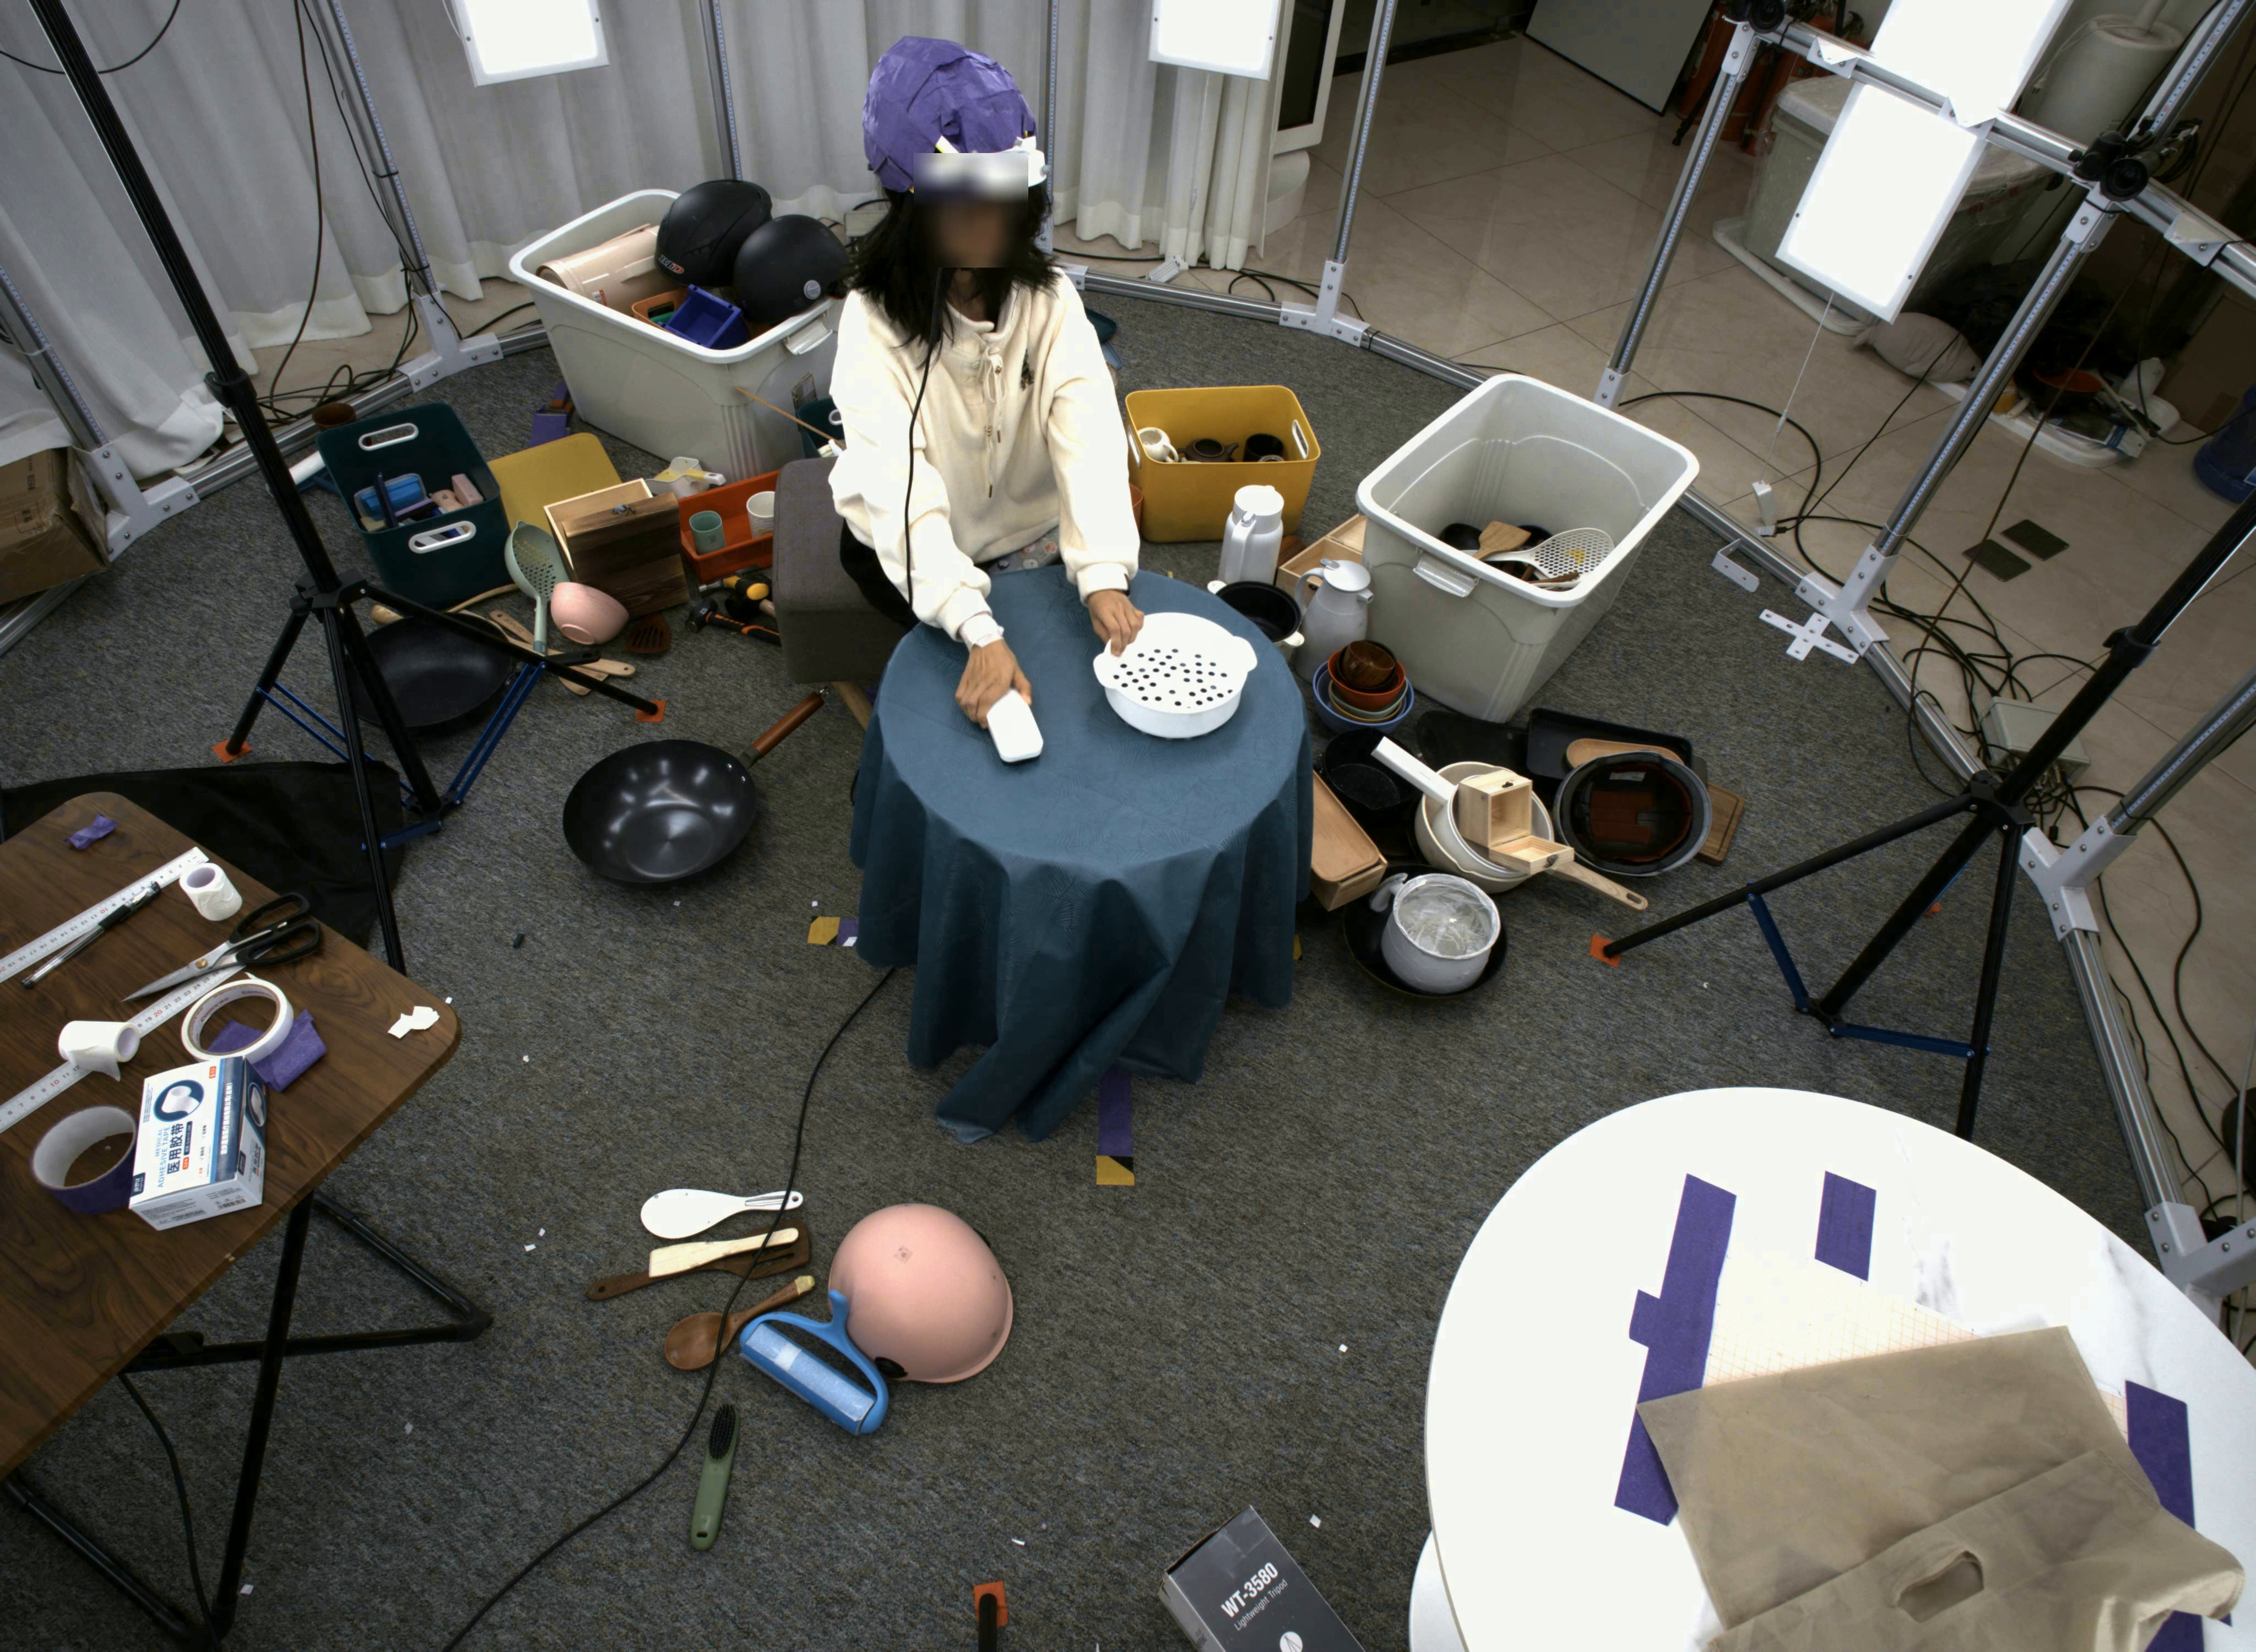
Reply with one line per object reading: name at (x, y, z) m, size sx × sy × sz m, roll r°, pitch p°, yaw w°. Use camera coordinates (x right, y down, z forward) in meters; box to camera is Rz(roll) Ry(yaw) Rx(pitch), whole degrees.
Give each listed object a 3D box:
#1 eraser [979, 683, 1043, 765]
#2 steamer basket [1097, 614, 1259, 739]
eraser at (-0.160, -0.143, 1.760) m, size 0.063 × 0.034 × 0.134 m, roll -11°, pitch 53°, yaw -15°
steamer basket at (0.069, -0.212, 1.815) m, size 0.230 × 0.067 × 0.207 m, roll -8°, pitch 50°, yaw -13°
